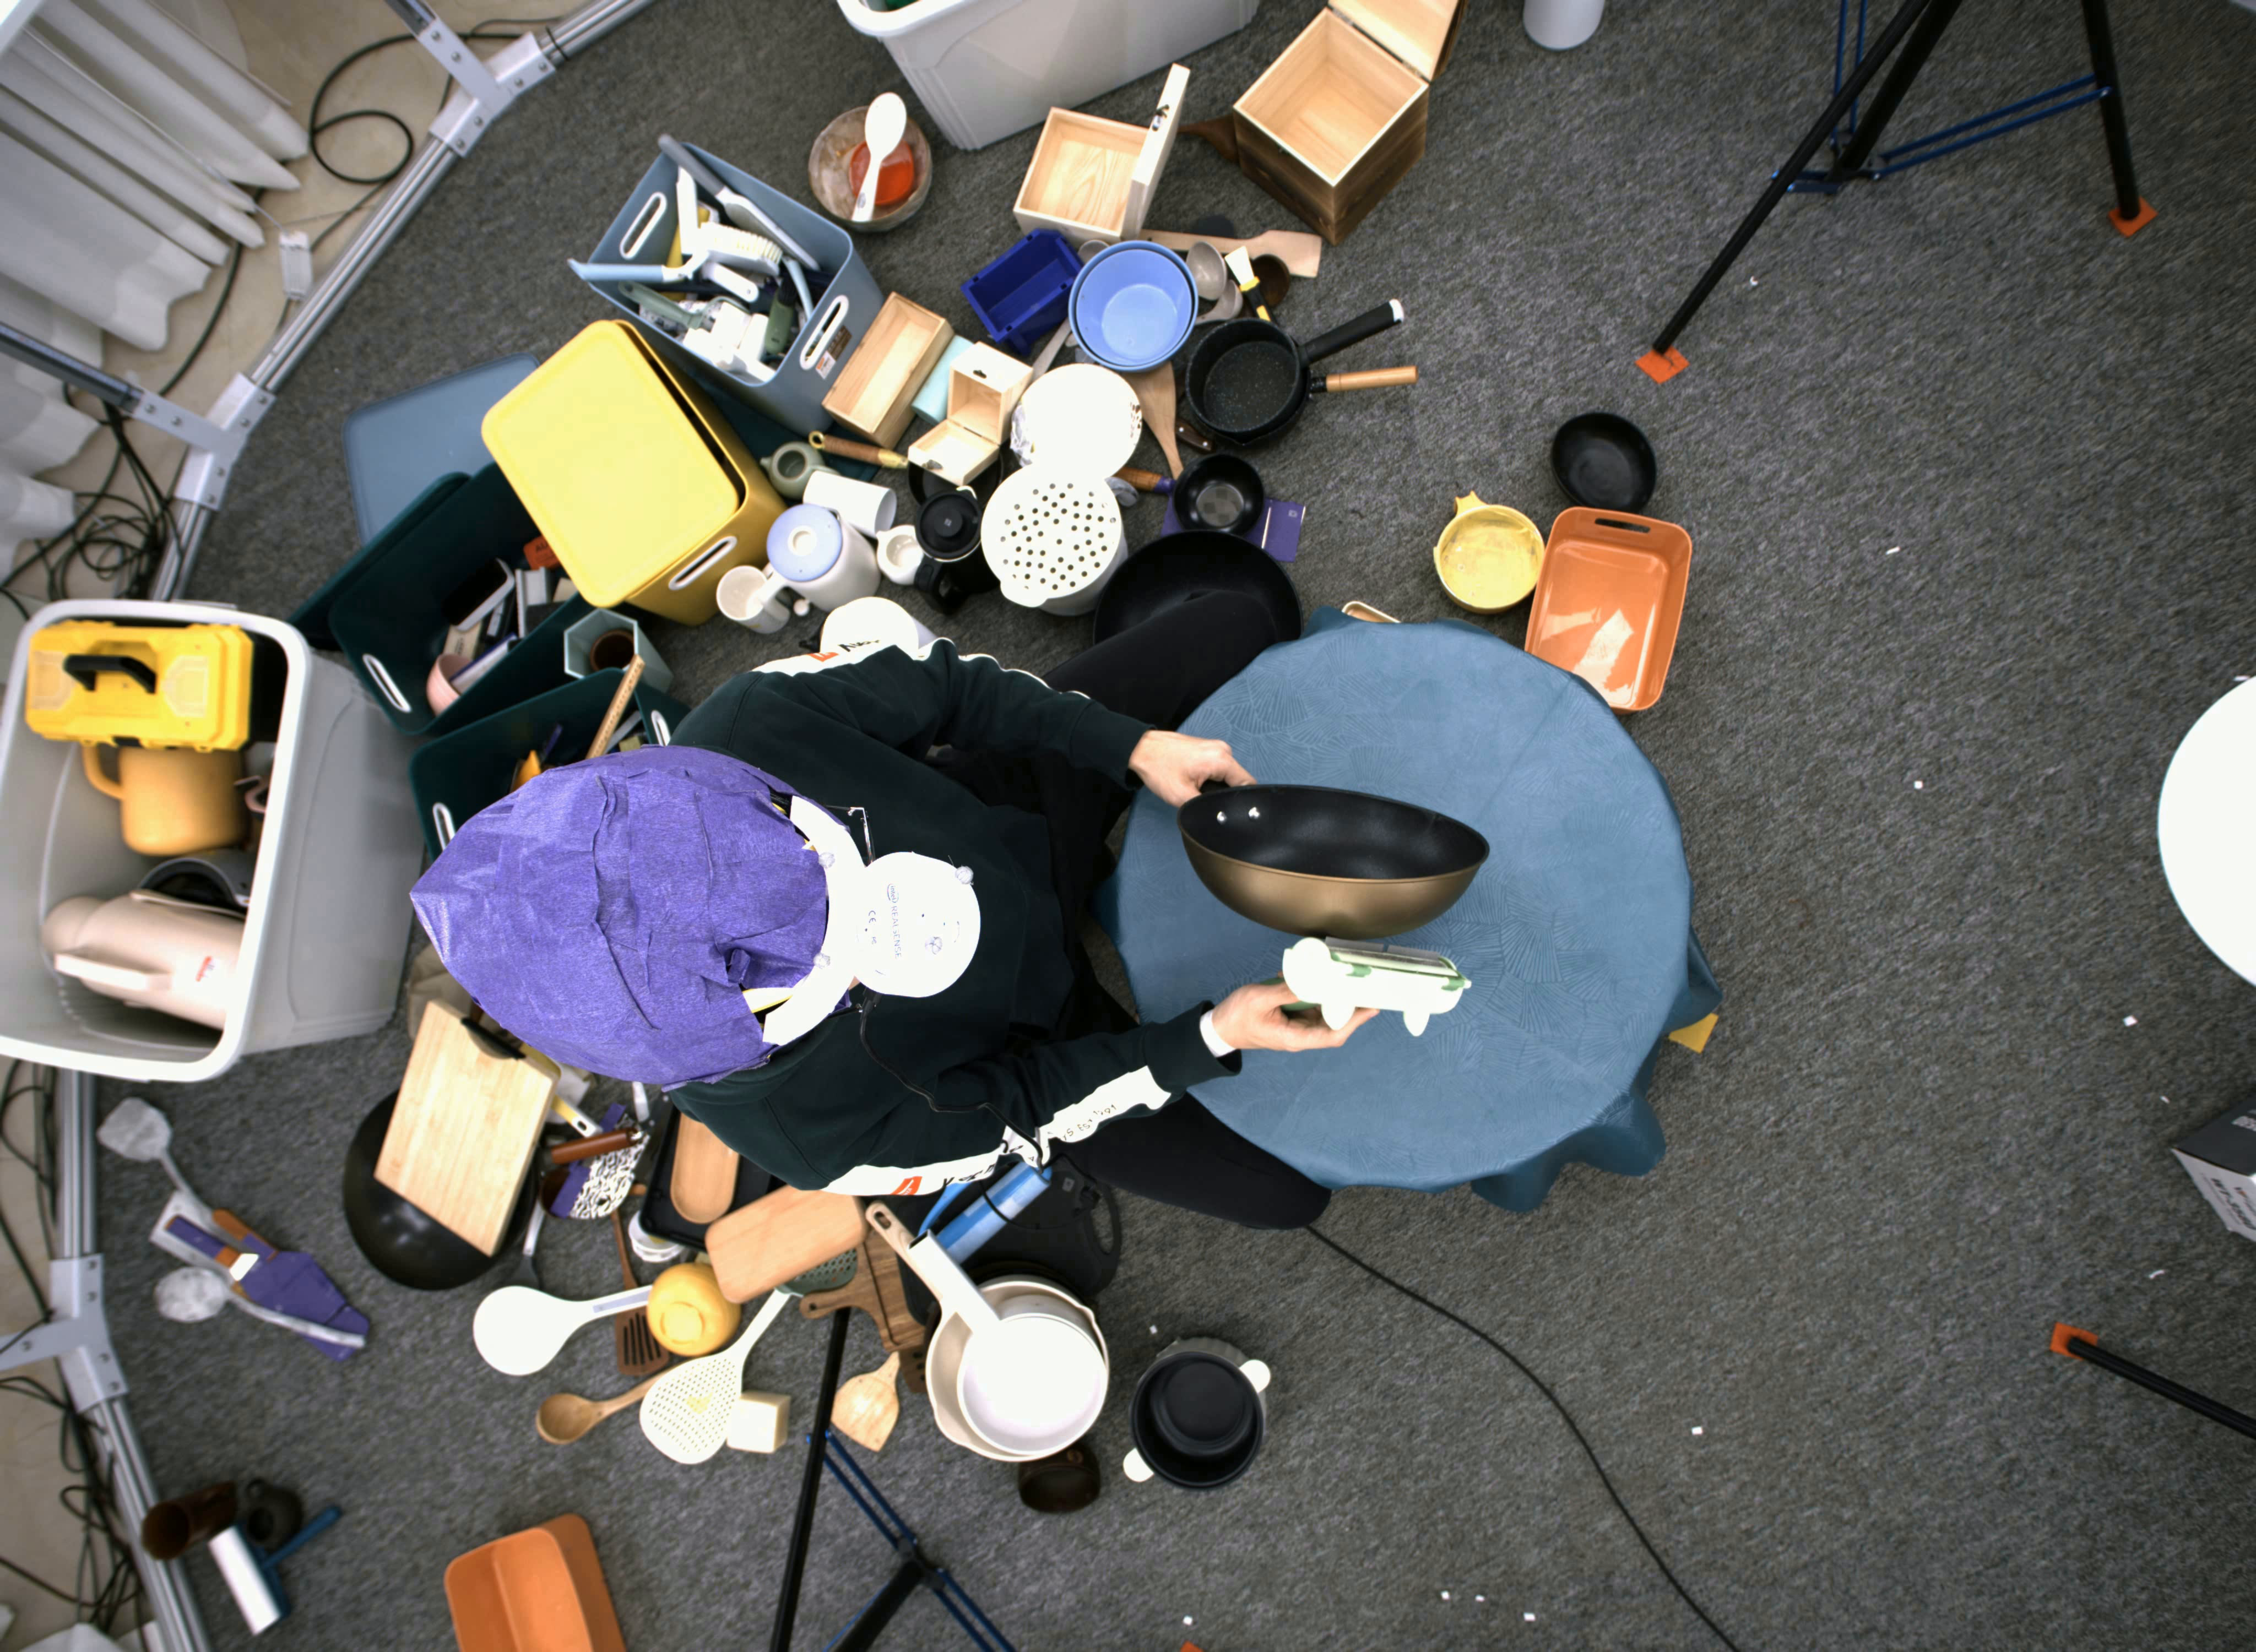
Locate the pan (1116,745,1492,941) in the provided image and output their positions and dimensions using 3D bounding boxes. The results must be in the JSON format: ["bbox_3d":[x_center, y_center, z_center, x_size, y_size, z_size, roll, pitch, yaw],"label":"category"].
[{"bbox_3d":[0.125,0.012,1.313,0.461,0.285,0.088,24,116,48],"label":"pan"}]

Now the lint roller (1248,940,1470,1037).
[{"bbox_3d":[0.183,0.161,1.248,0.187,0.198,0.081,-31,60,40],"label":"lint roller"}]
